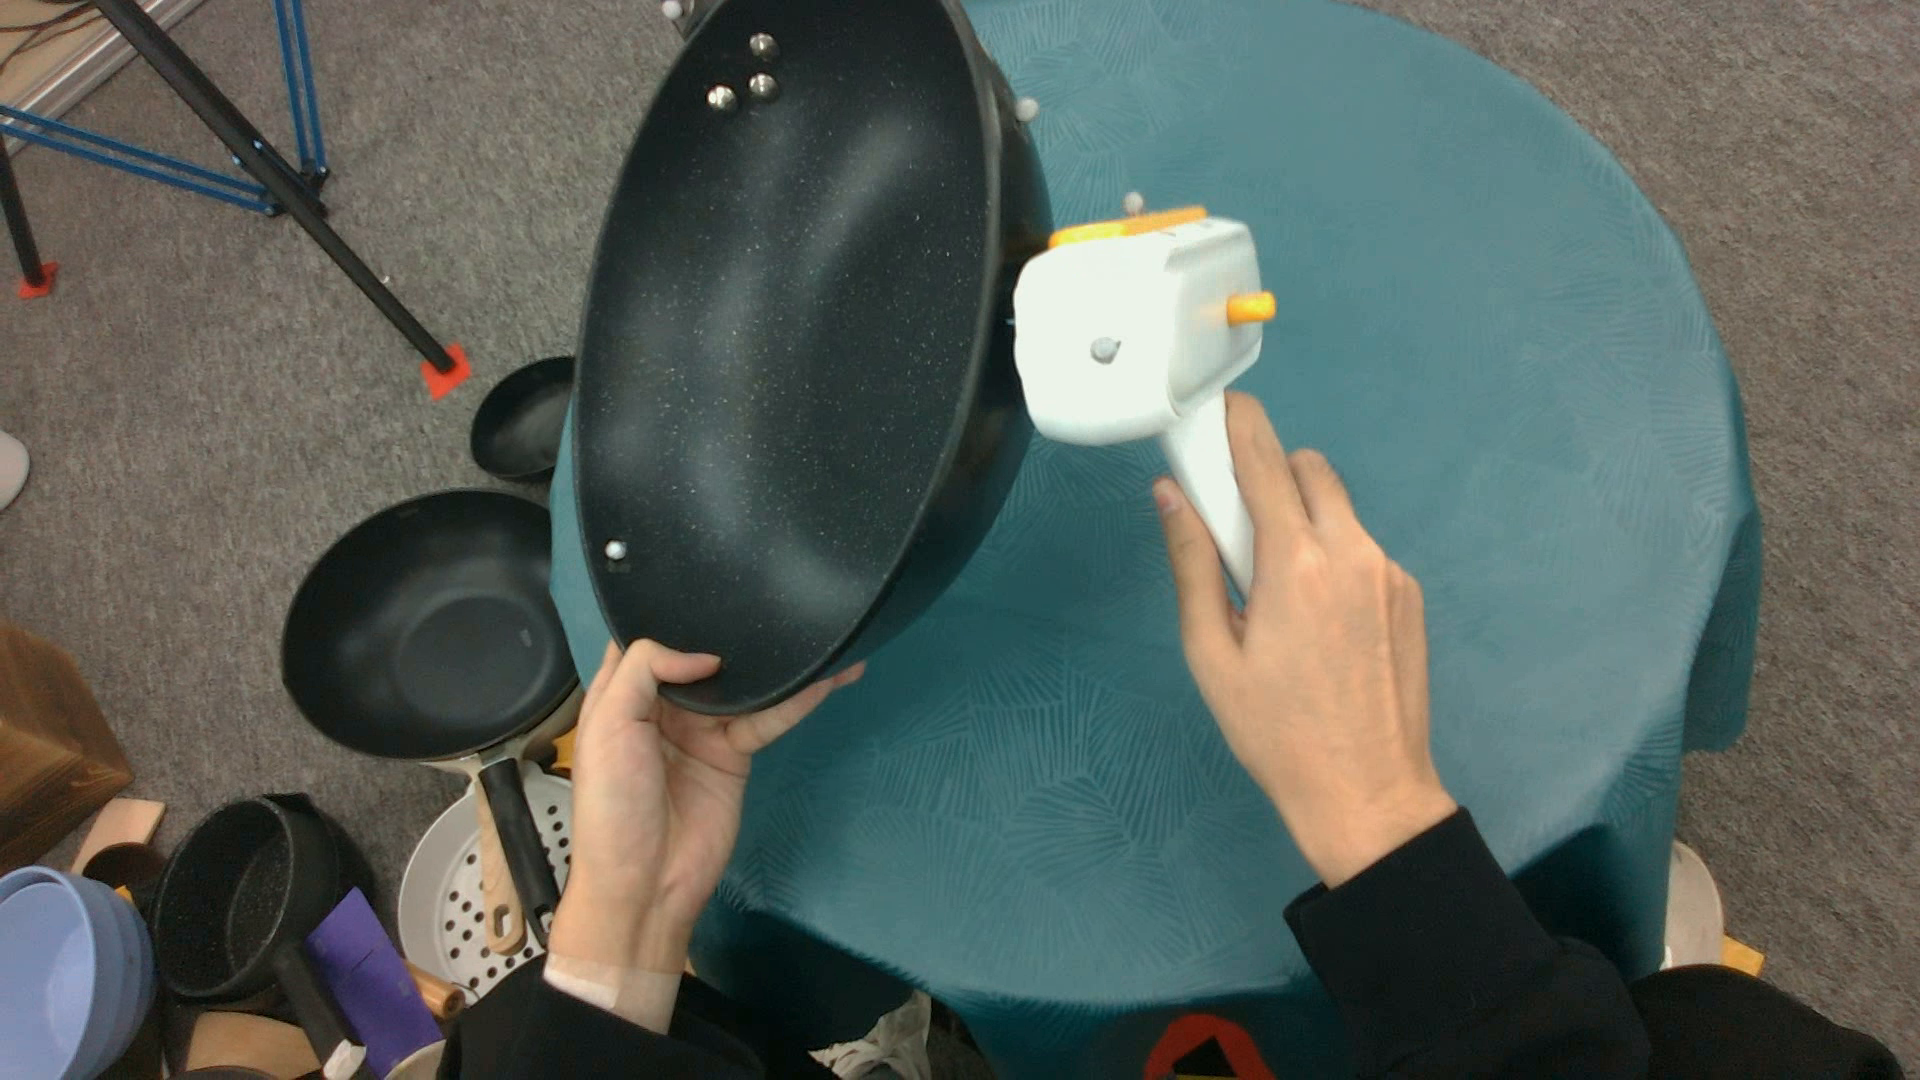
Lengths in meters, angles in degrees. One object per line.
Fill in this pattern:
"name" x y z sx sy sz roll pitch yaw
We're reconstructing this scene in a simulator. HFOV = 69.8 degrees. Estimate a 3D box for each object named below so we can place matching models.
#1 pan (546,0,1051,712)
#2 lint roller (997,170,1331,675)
"pan" -0.089 -0.159 0.599 0.309 0.112 0.478 -34 60 39
"lint roller" 0.085 -0.036 0.505 0.074 0.193 0.192 -13 105 20
